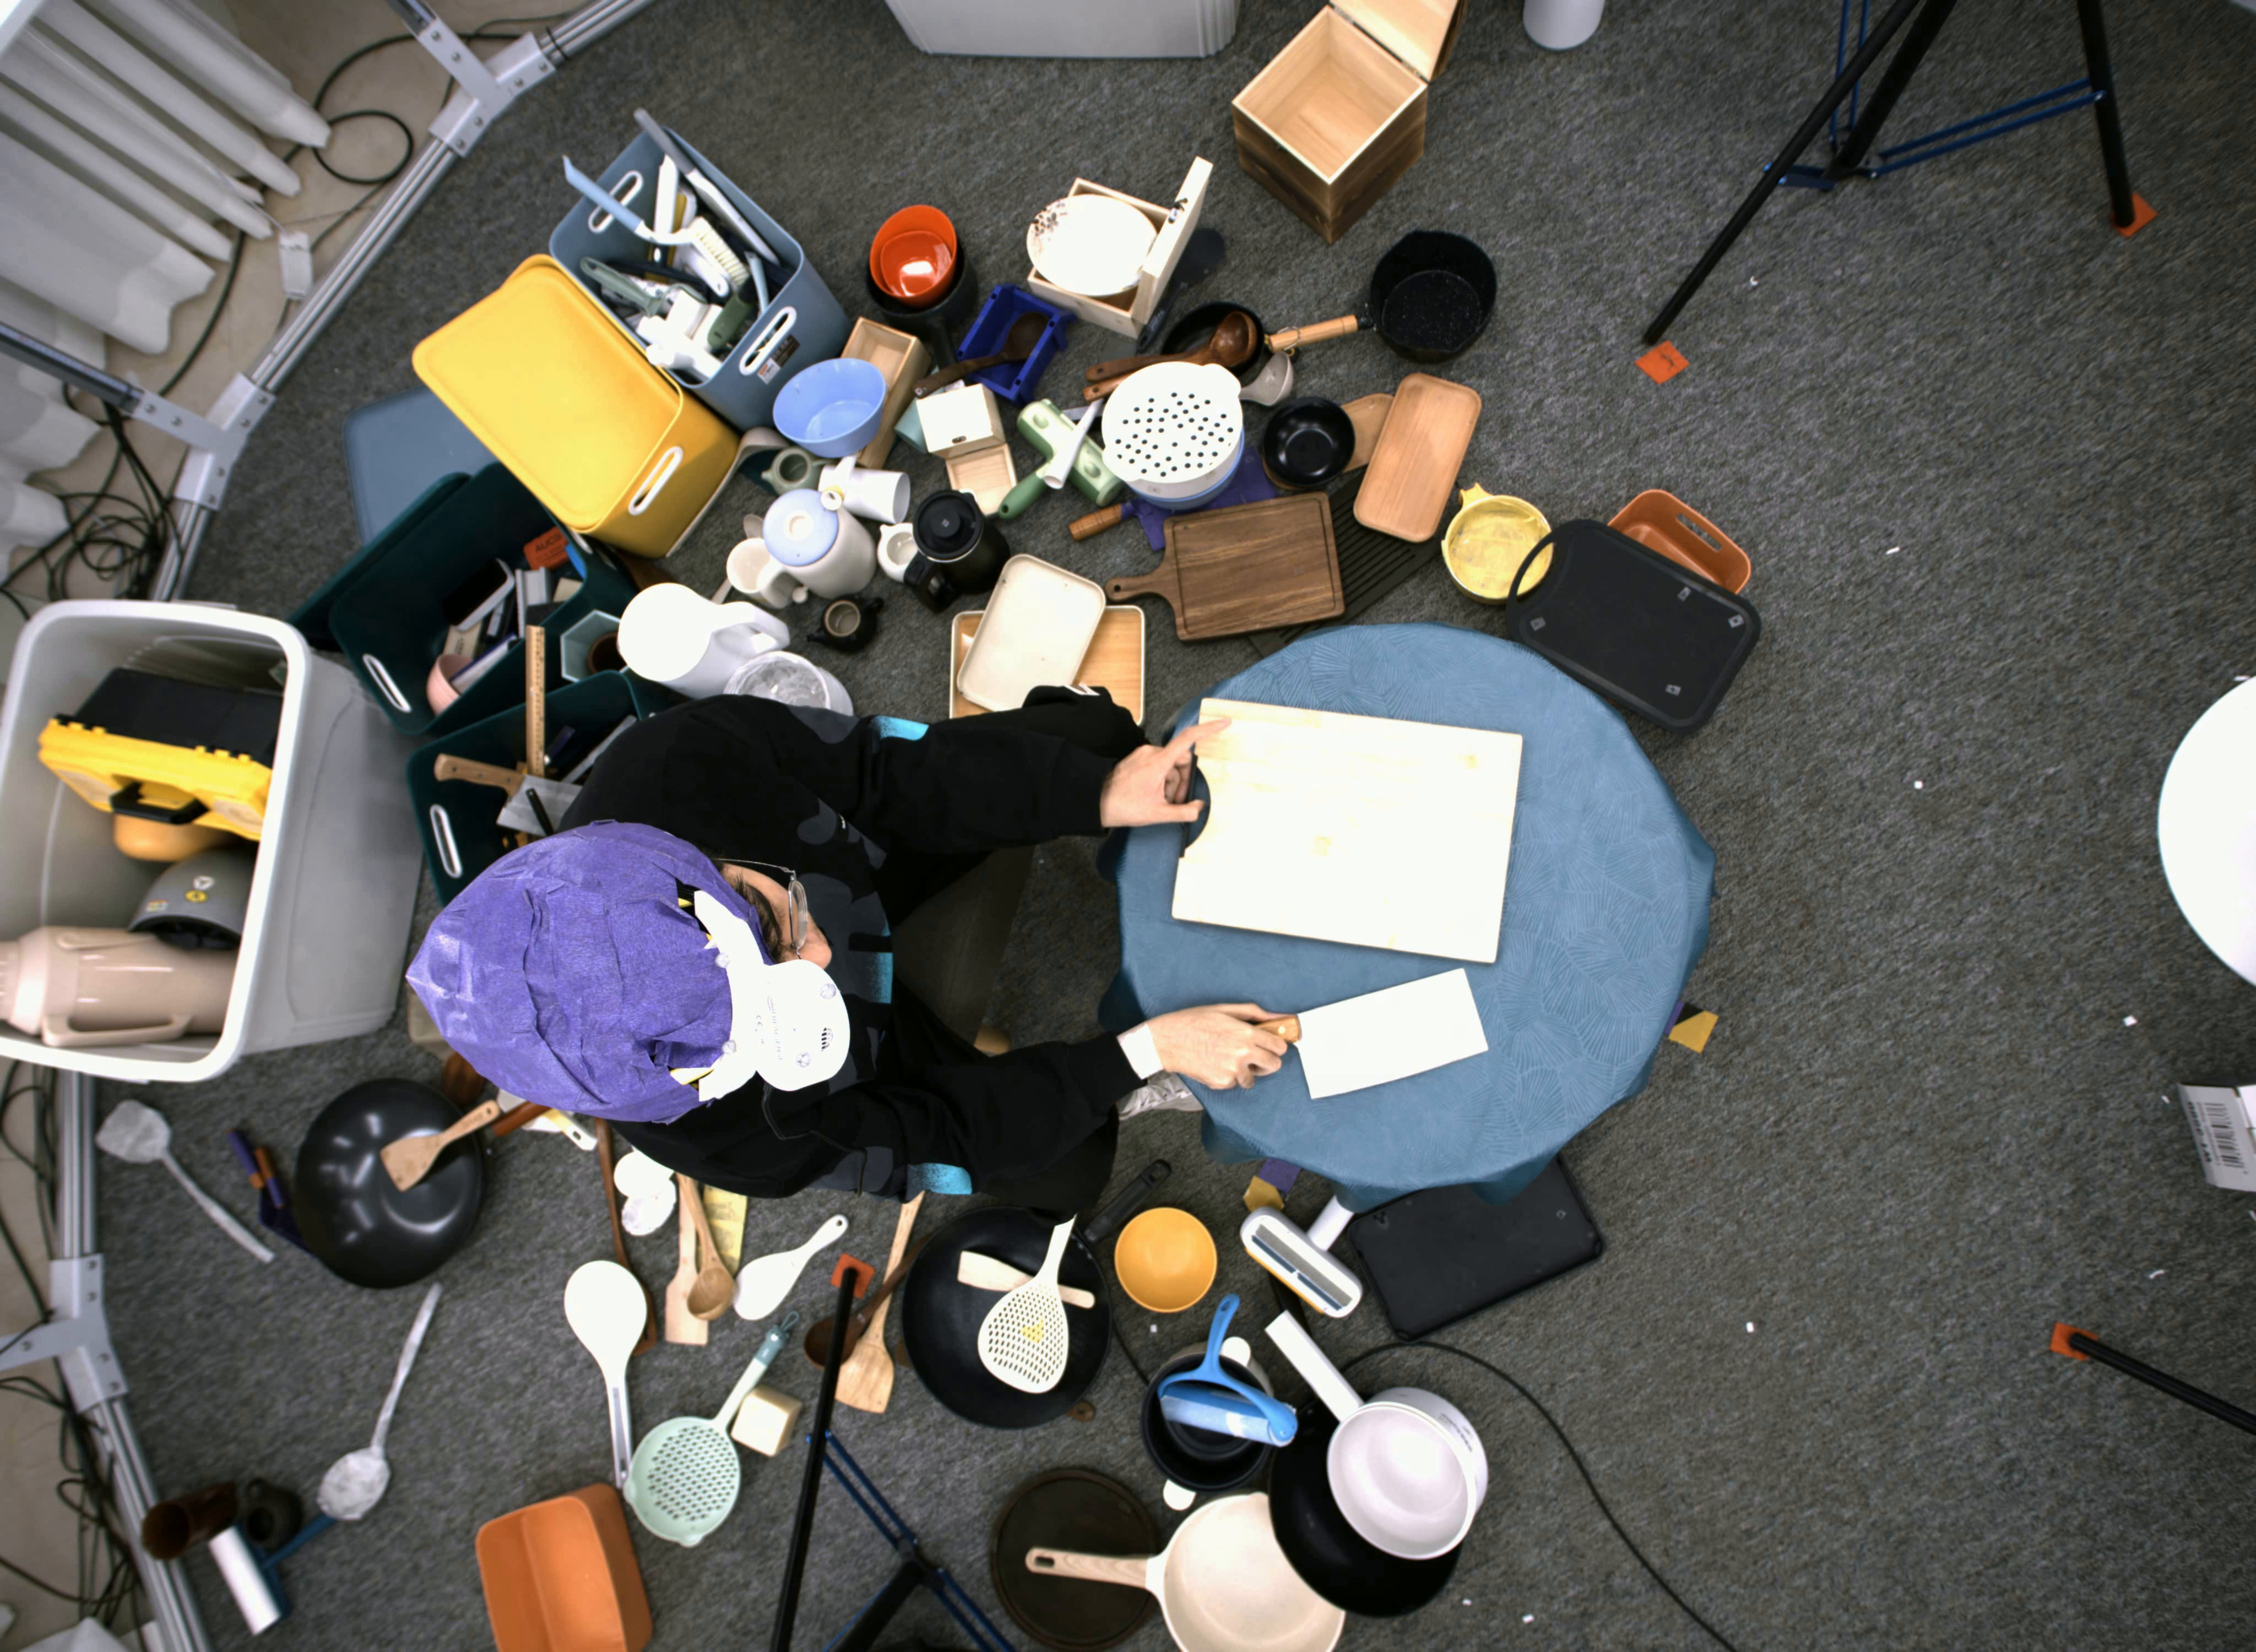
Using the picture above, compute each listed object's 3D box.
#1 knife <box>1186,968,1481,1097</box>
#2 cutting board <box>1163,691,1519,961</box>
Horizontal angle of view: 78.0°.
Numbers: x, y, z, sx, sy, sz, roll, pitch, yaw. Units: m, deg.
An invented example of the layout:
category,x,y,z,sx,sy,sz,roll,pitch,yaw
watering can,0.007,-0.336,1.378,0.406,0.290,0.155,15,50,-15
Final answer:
category,x,y,z,sx,sy,sz,roll,pitch,yaw
knife,0.216,0.229,1.450,0.307,0.021,0.092,-16,84,6
cutting board,0.223,-0.003,1.460,0.349,0.023,0.250,7,88,9
